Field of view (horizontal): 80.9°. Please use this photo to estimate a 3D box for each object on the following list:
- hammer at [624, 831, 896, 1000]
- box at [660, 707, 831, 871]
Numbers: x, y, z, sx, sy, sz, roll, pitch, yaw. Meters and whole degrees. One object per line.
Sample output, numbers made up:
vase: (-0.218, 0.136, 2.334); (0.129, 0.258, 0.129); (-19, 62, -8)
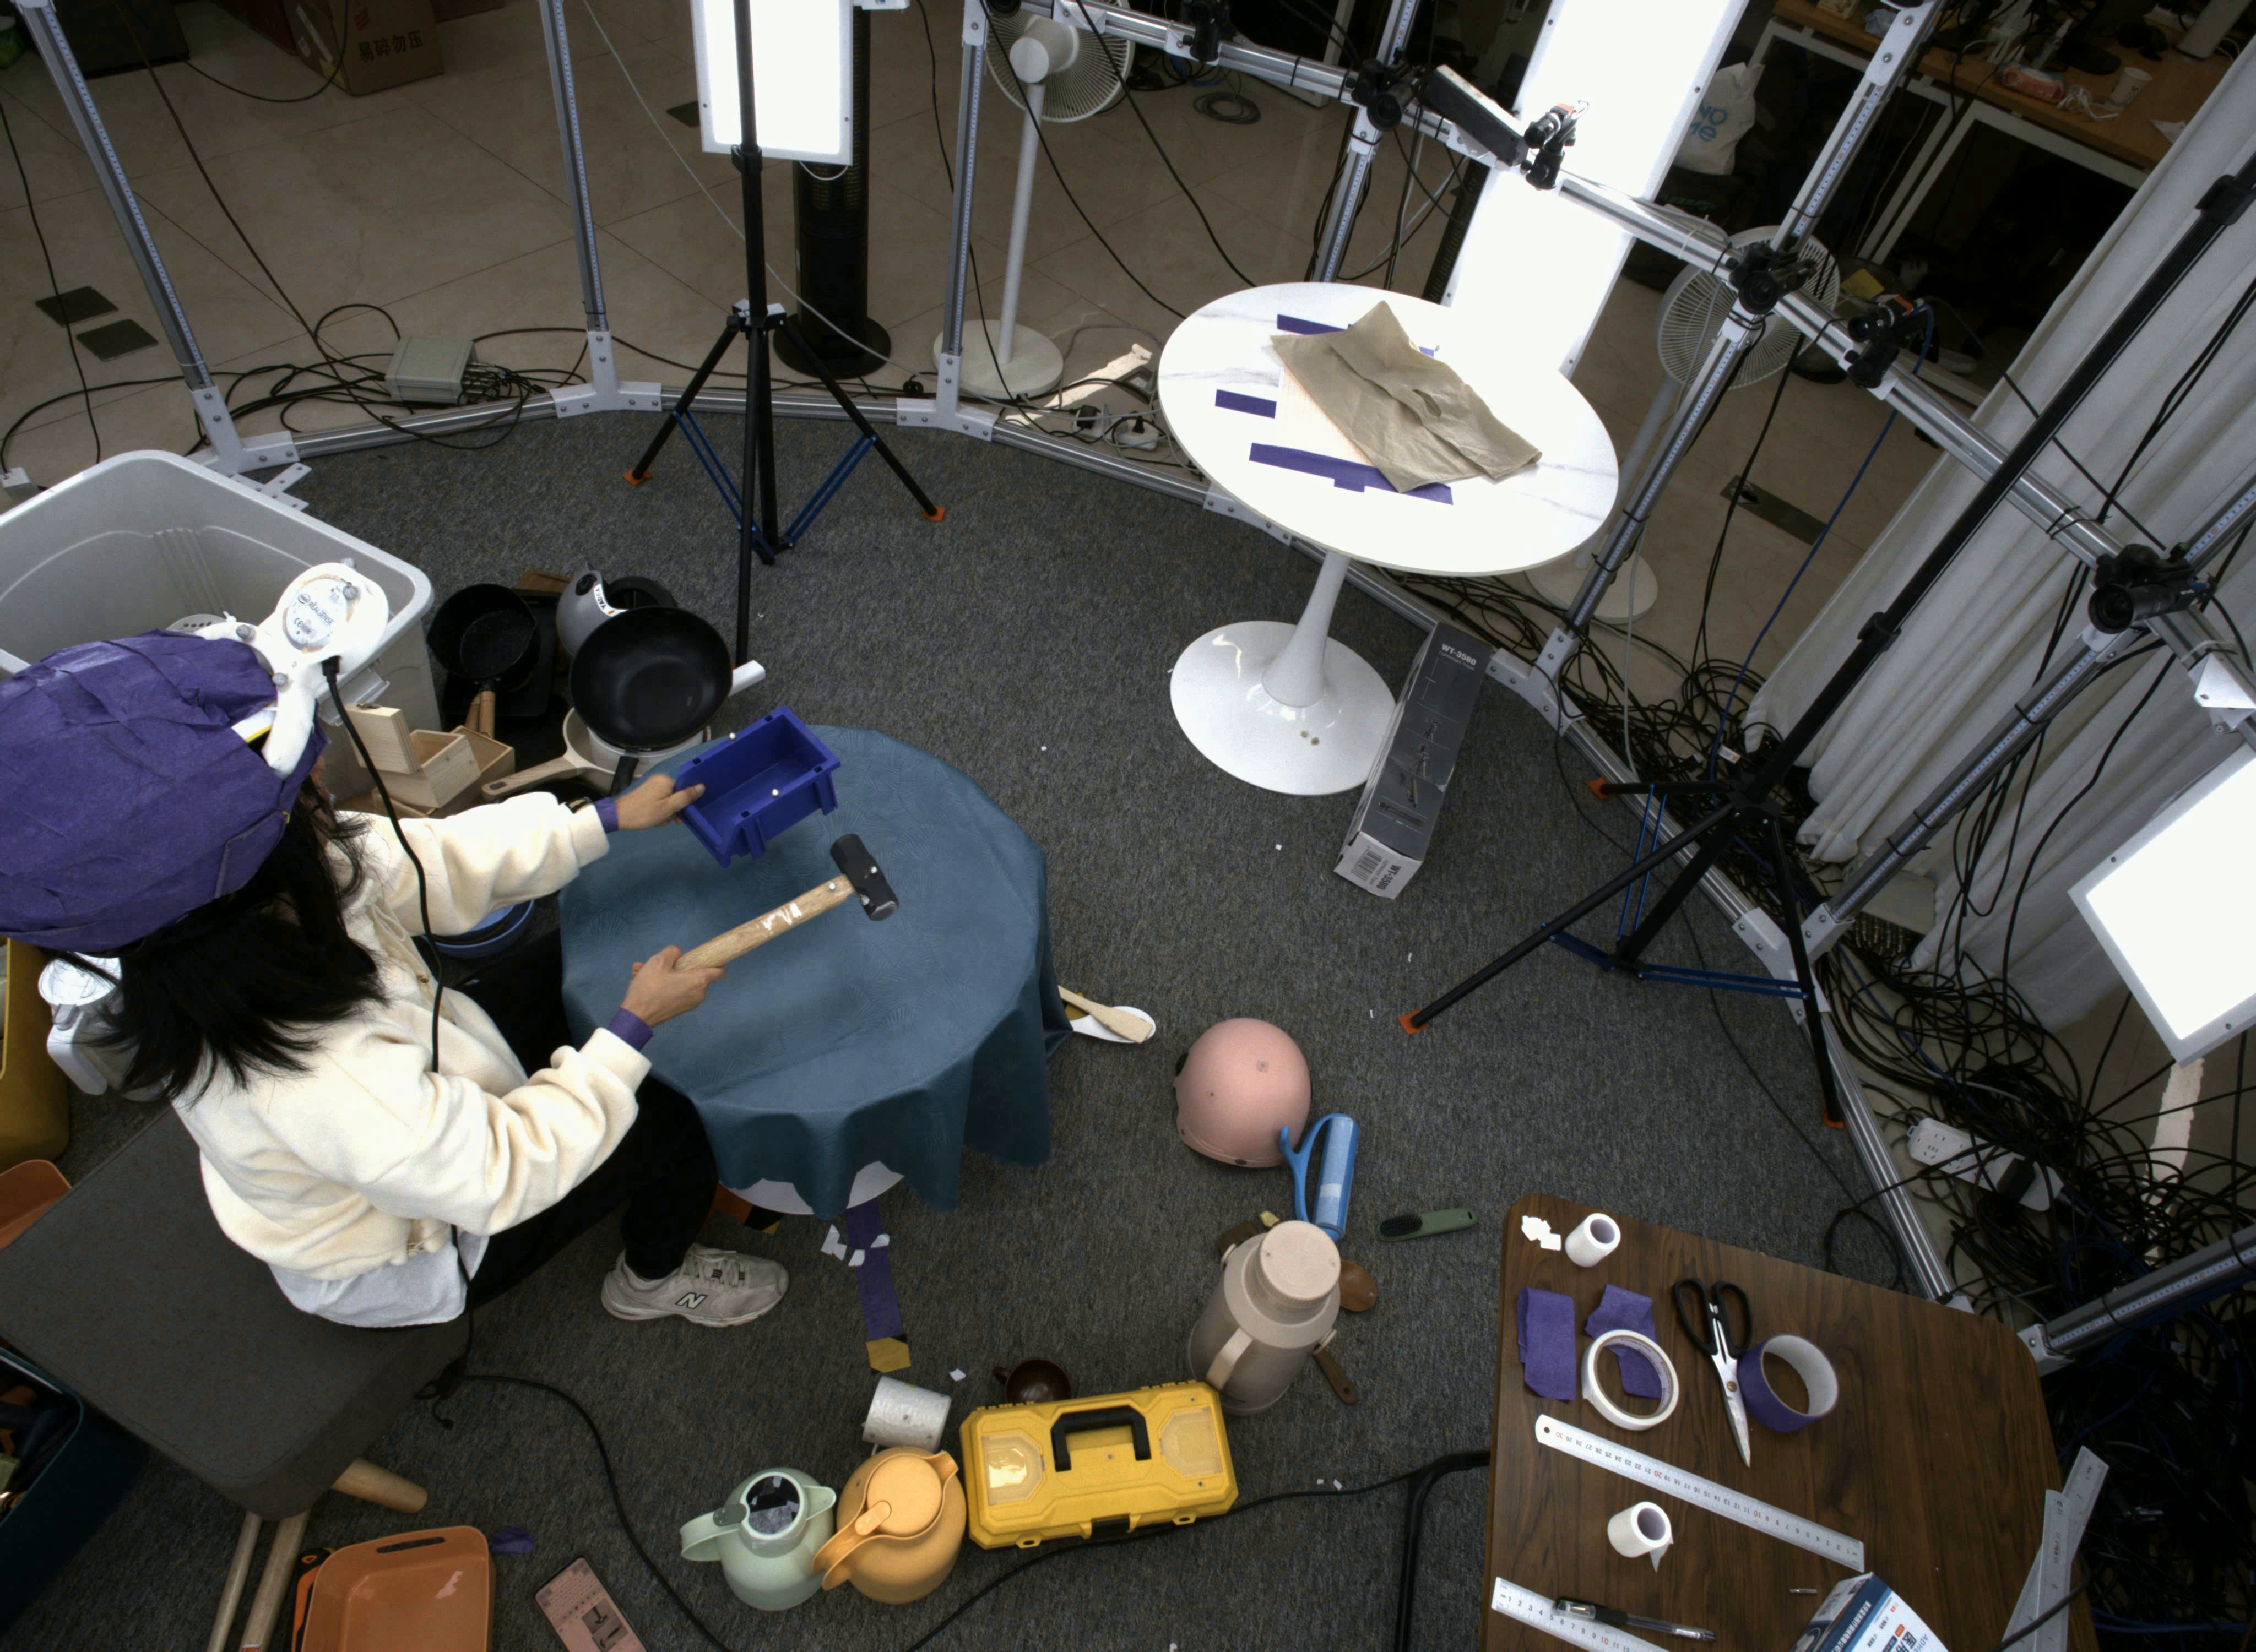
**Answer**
hammer: (-0.420, 0.111, 1.459); (0.306, 0.039, 0.105); (-26, 71, -23)
box: (-0.464, -0.042, 1.574); (0.180, 0.084, 0.121); (-35, 63, -28)
